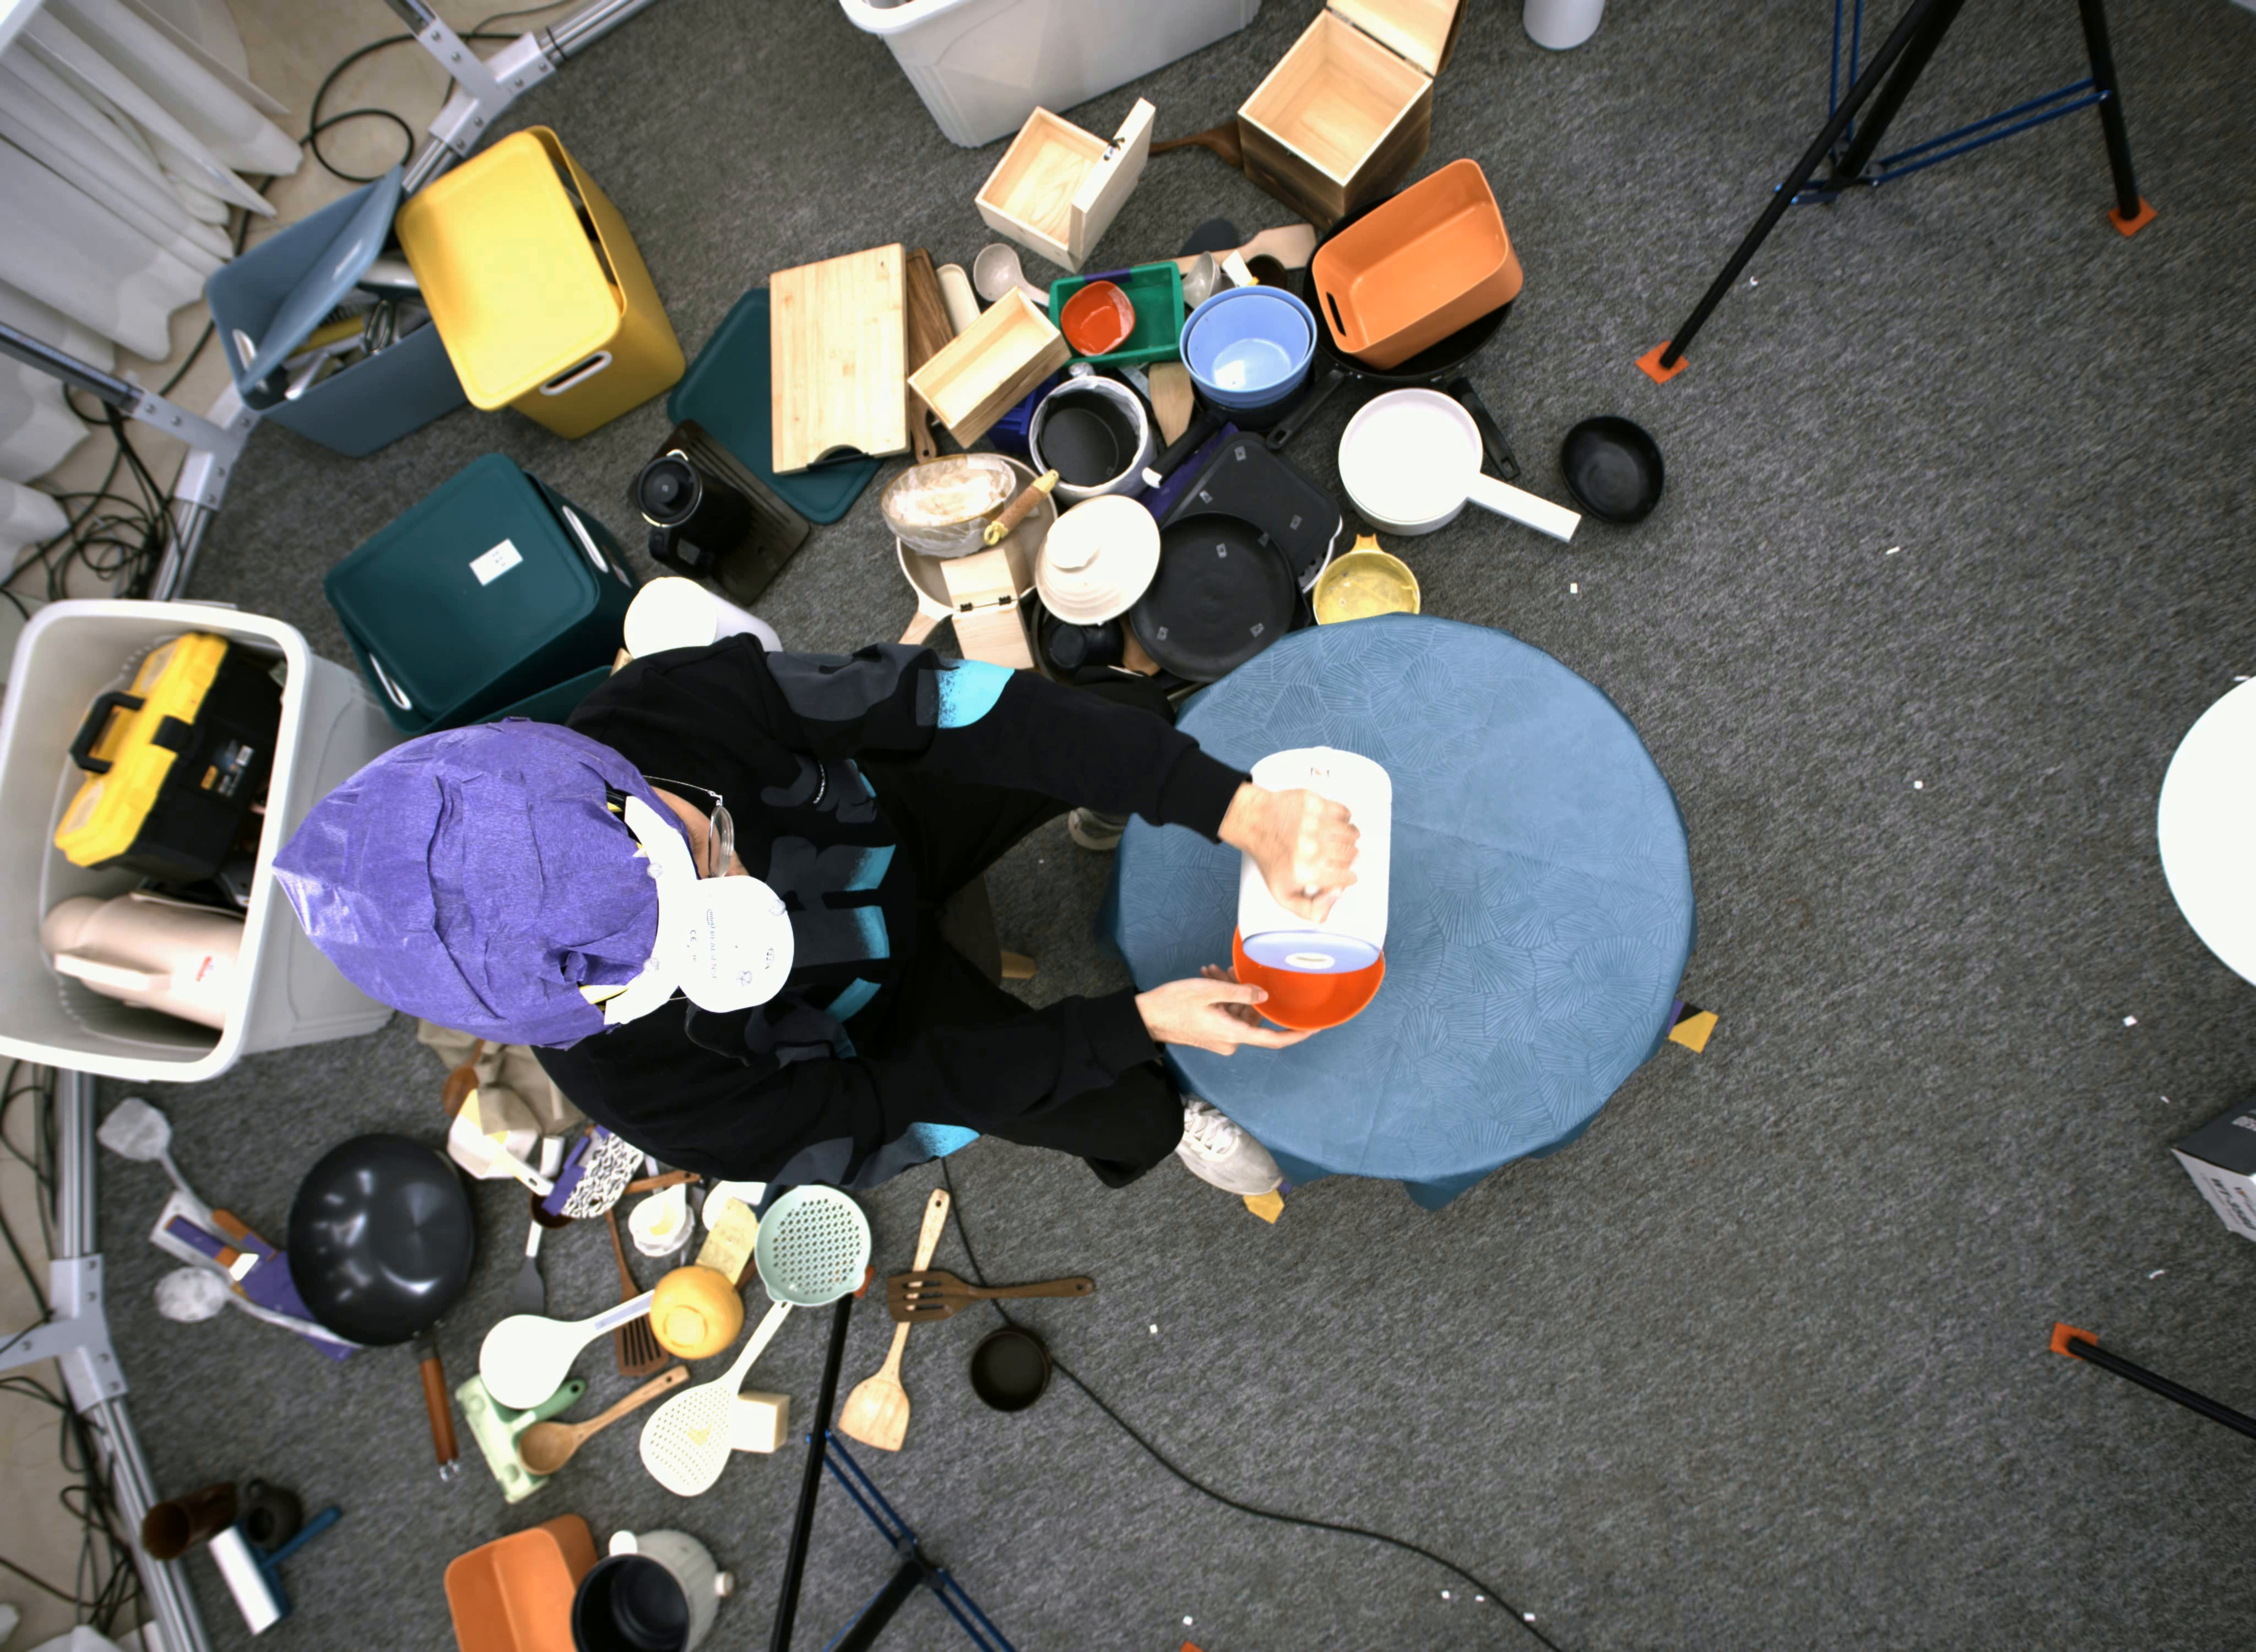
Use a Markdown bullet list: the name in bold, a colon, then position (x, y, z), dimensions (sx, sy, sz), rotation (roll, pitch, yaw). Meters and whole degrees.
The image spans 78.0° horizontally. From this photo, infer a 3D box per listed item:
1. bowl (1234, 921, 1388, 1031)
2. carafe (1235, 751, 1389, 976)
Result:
- **bowl**: position (0.177, 0.130, 1.362), dimensions (0.148, 0.105, 0.146), rotation (-1, 77, 4)
- **carafe**: position (0.160, 0.026, 1.201), dimensions (0.132, 0.194, 0.179), rotation (2, 71, 9)
